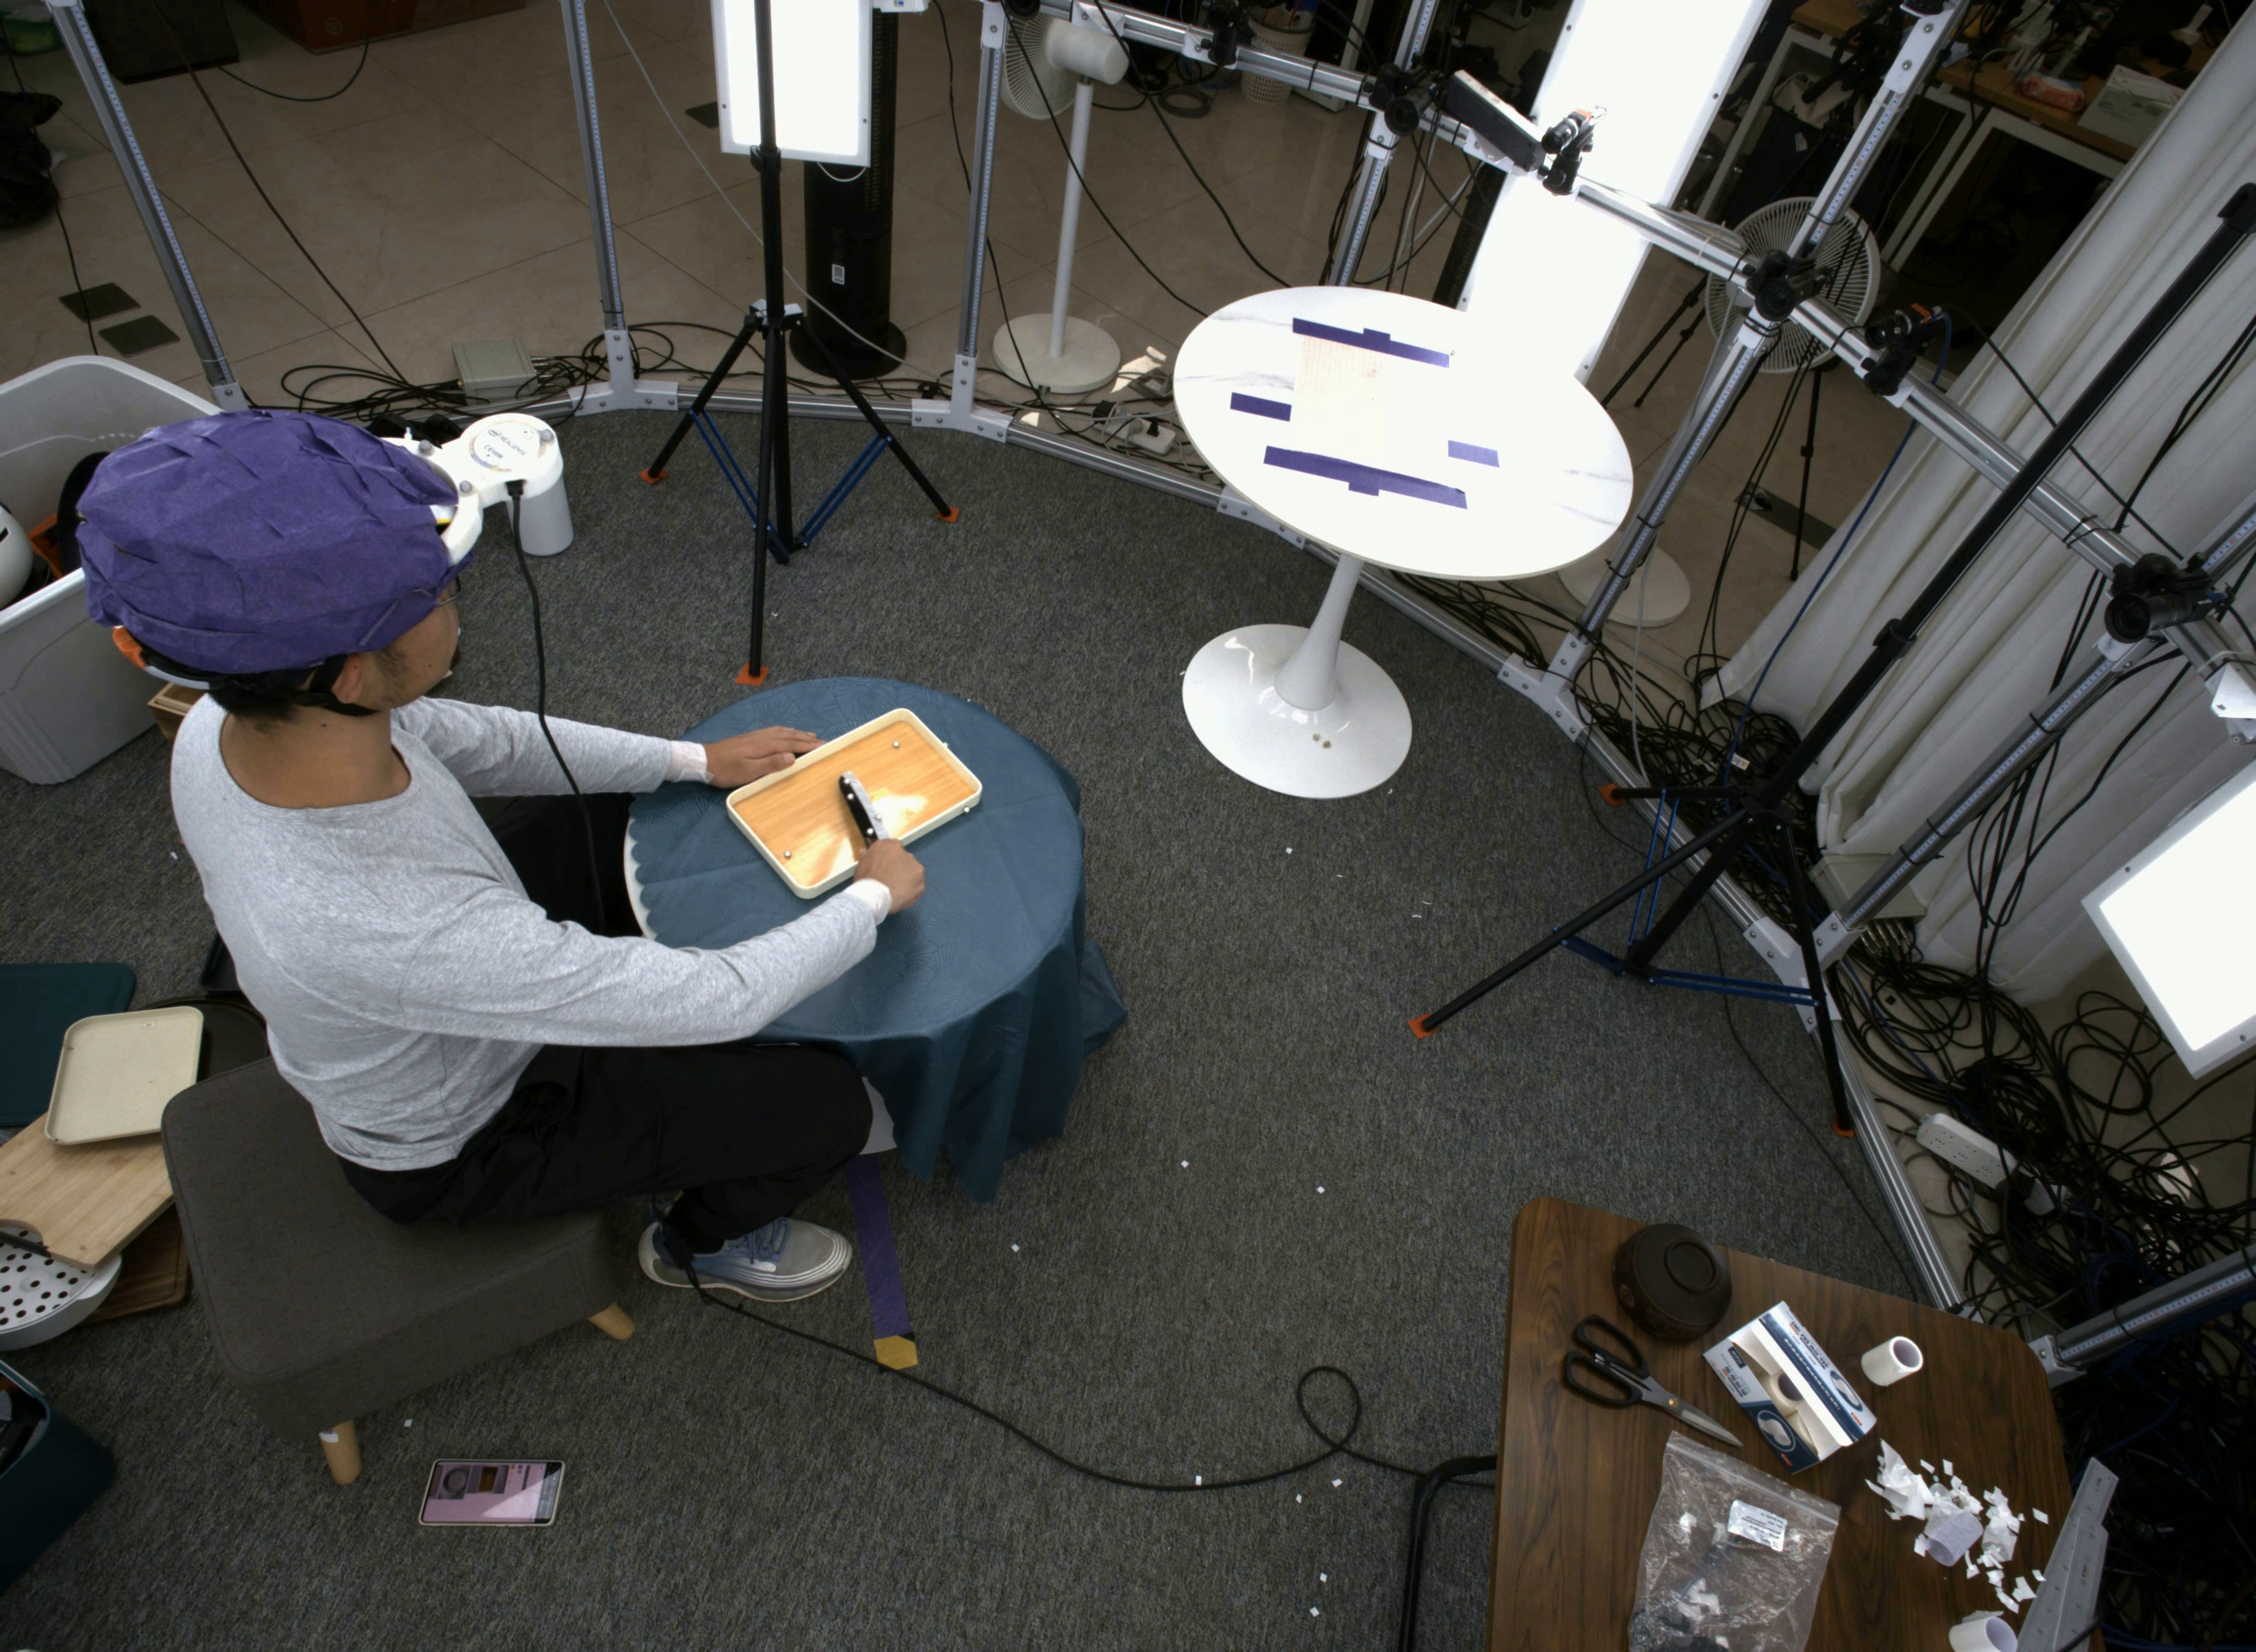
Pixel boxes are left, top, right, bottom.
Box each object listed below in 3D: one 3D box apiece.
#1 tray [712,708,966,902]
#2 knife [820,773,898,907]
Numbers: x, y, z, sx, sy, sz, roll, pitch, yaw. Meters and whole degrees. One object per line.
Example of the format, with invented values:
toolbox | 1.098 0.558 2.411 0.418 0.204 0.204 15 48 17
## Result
tray | -0.387 -0.035 1.754 0.301 0.028 0.187 -34 68 -32
knife | -0.351 0.010 1.687 0.051 0.020 0.279 13 29 -39
